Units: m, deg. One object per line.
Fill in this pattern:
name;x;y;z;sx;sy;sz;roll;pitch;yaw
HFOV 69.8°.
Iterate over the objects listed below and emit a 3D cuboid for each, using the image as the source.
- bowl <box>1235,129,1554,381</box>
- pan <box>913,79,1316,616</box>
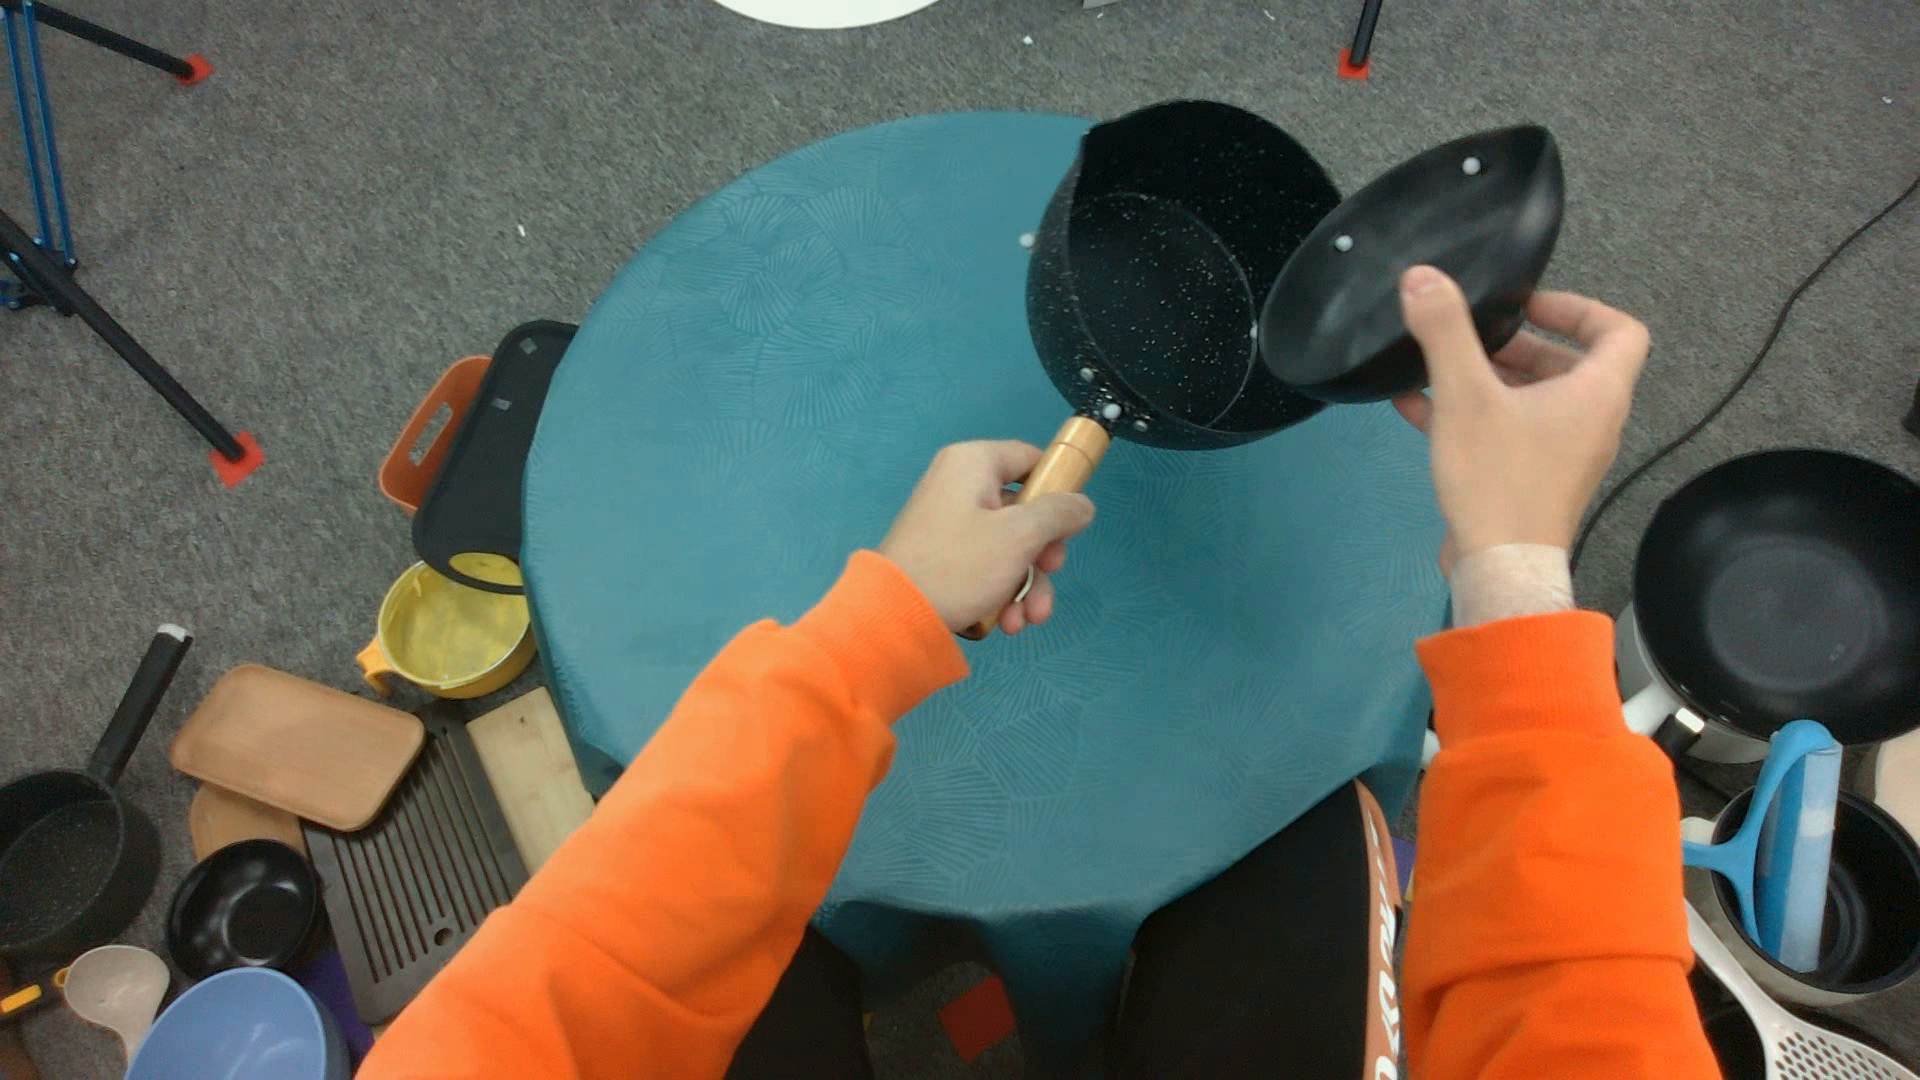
bowl;0.216;-0.130;0.665;0.170;0.066;0.137;-46;31;-10
pan;0.065;-0.088;0.715;0.207;0.108;0.344;39;66;-10
